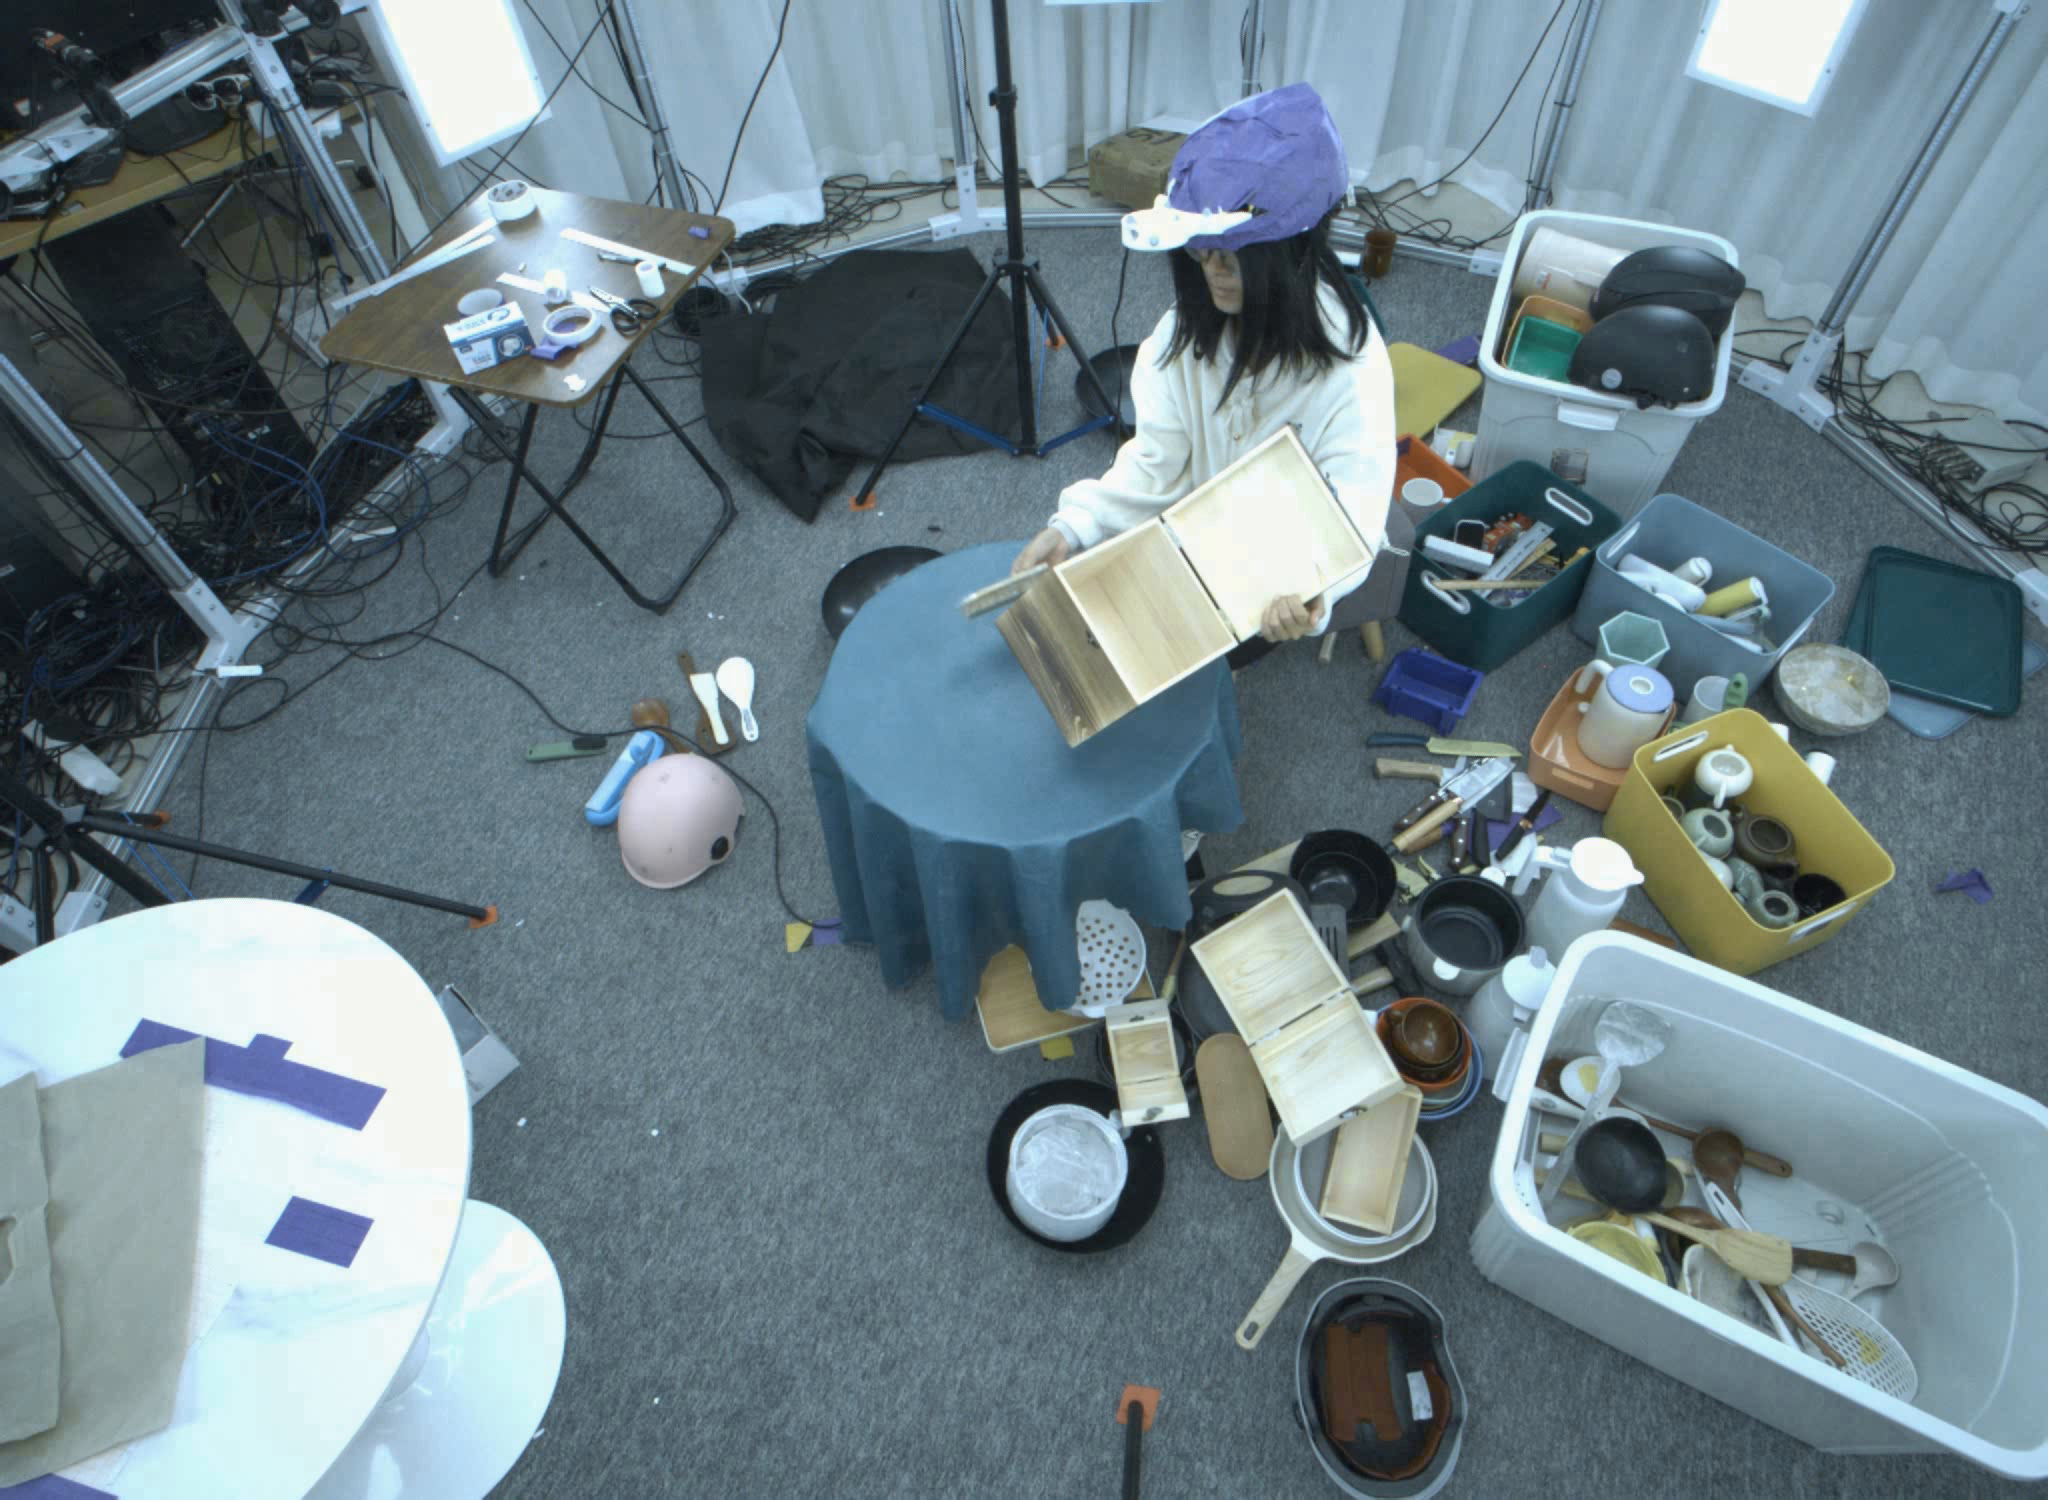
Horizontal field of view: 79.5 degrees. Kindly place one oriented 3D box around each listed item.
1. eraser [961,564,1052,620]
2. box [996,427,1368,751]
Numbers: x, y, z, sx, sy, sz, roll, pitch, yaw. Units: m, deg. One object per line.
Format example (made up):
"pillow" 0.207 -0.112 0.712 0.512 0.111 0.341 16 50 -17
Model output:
"eraser" -0.026 -0.233 1.833 0.140 0.057 0.029 -23 88 -7
"box" 0.199 -0.209 1.581 0.326 0.371 0.208 -32 87 -33
